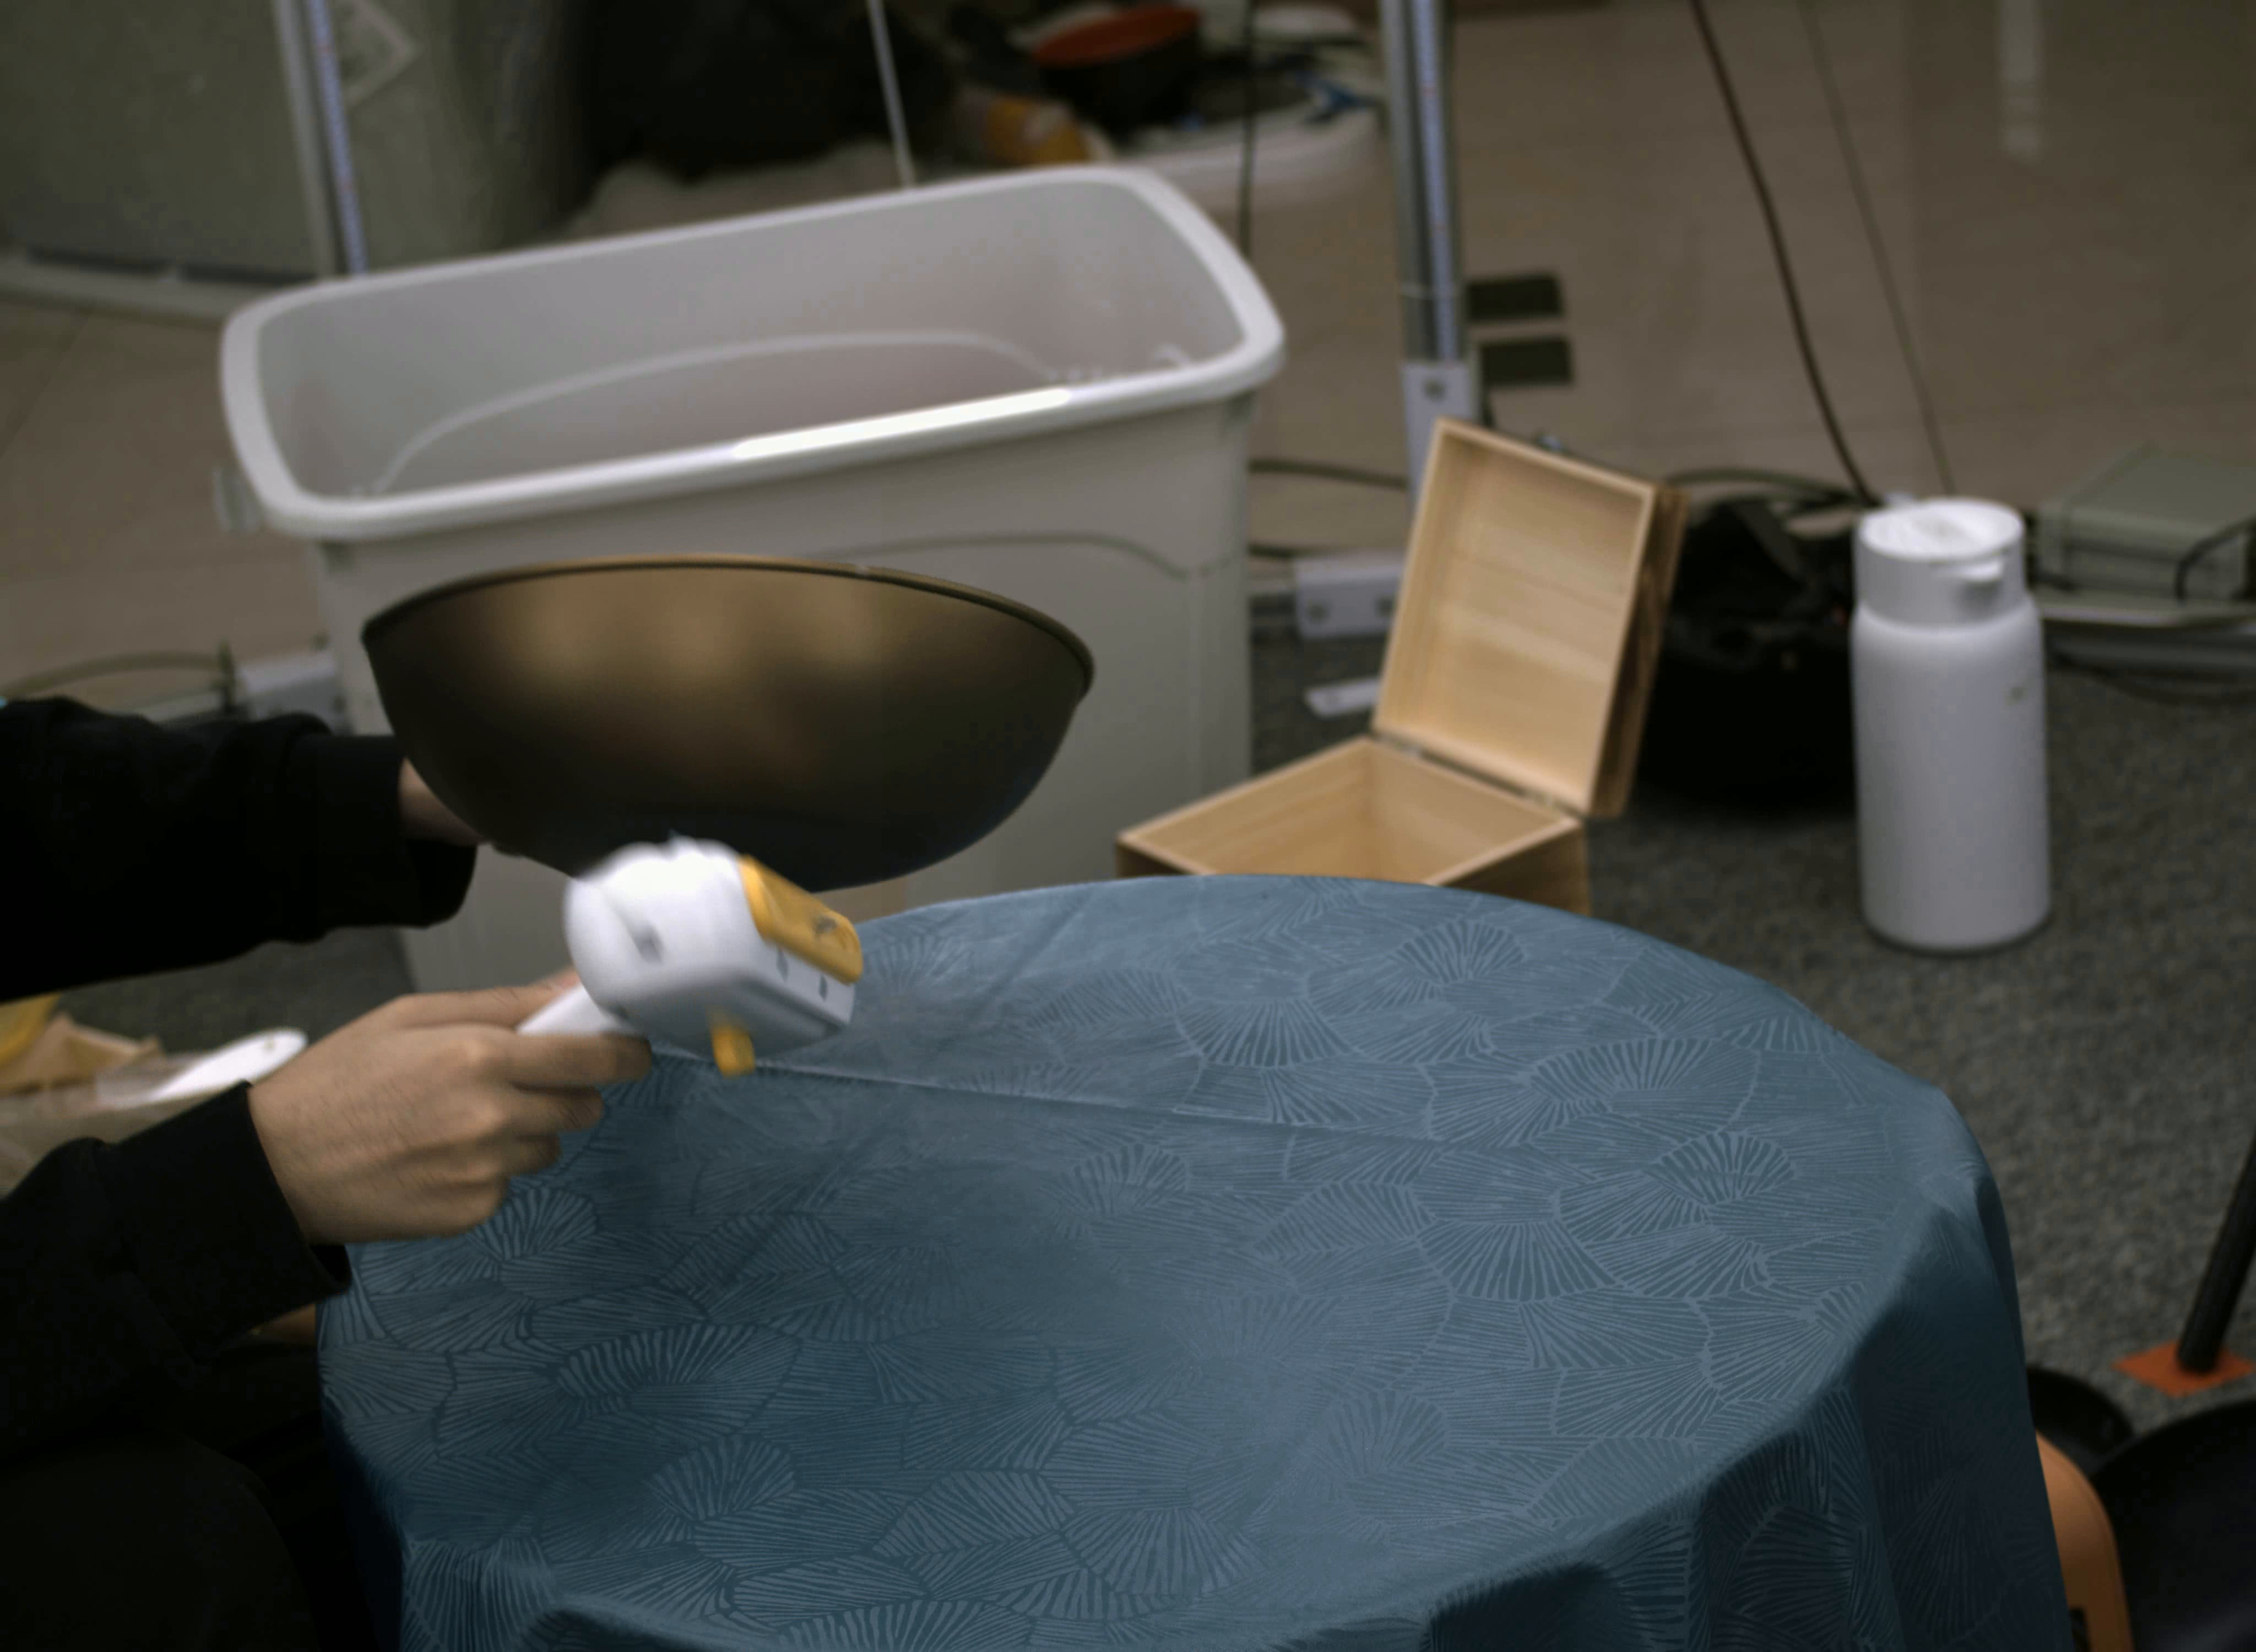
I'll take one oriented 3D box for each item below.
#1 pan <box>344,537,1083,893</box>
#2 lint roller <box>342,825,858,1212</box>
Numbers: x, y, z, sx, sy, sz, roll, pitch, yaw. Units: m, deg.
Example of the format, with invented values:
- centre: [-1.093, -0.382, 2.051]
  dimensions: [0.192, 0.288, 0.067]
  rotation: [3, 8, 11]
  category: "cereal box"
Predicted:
- centre: [-0.191, -0.010, 2.252]
  dimensions: [0.288, 0.086, 0.466]
  rotation: [7, -15, -19]
  category: "pan"
- centre: [-0.201, 0.072, 2.014]
  dimensions: [0.193, 0.074, 0.193]
  rotation: [-26, -13, 11]
  category: "lint roller"
